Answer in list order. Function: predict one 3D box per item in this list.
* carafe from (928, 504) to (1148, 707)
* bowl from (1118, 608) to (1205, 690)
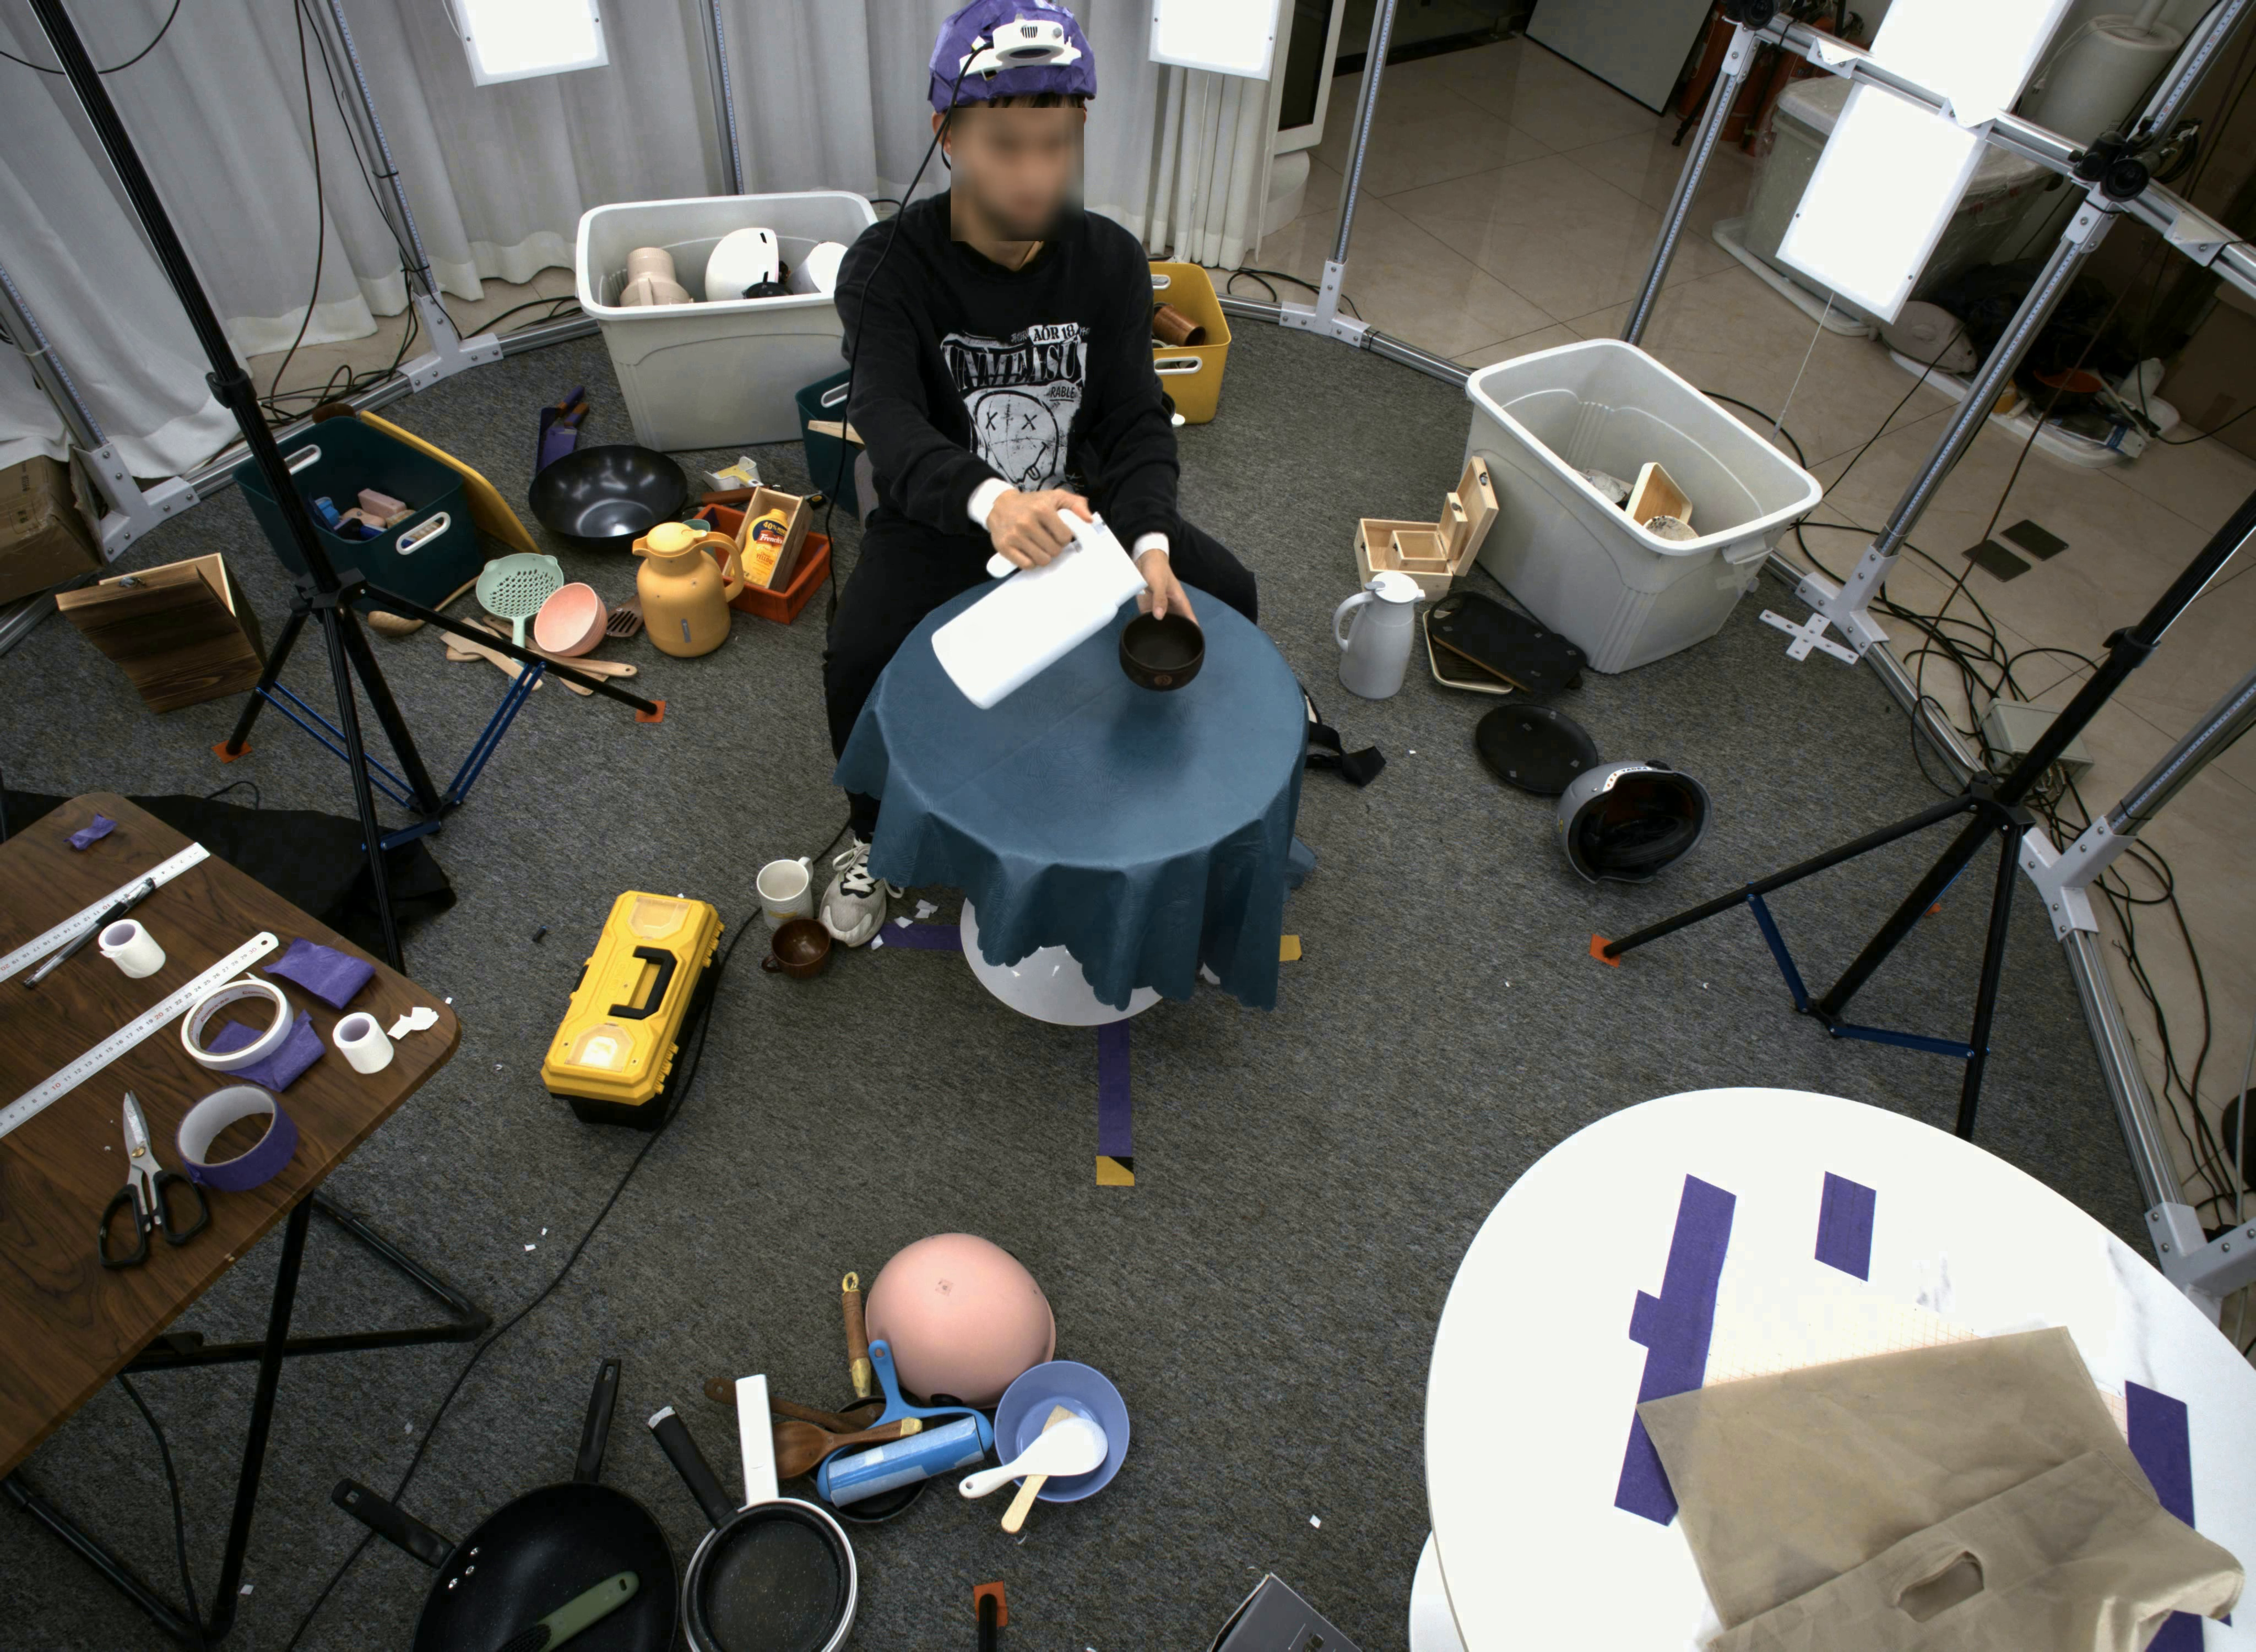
[{"bbox_3d":[-0.119,-0.275,1.598,0.268,0.169,0.127,-33,47,7],"label":"carafe"},{"bbox_3d":[0.044,-0.233,1.749,0.118,0.068,0.121,1,50,-2],"label":"bowl"}]
